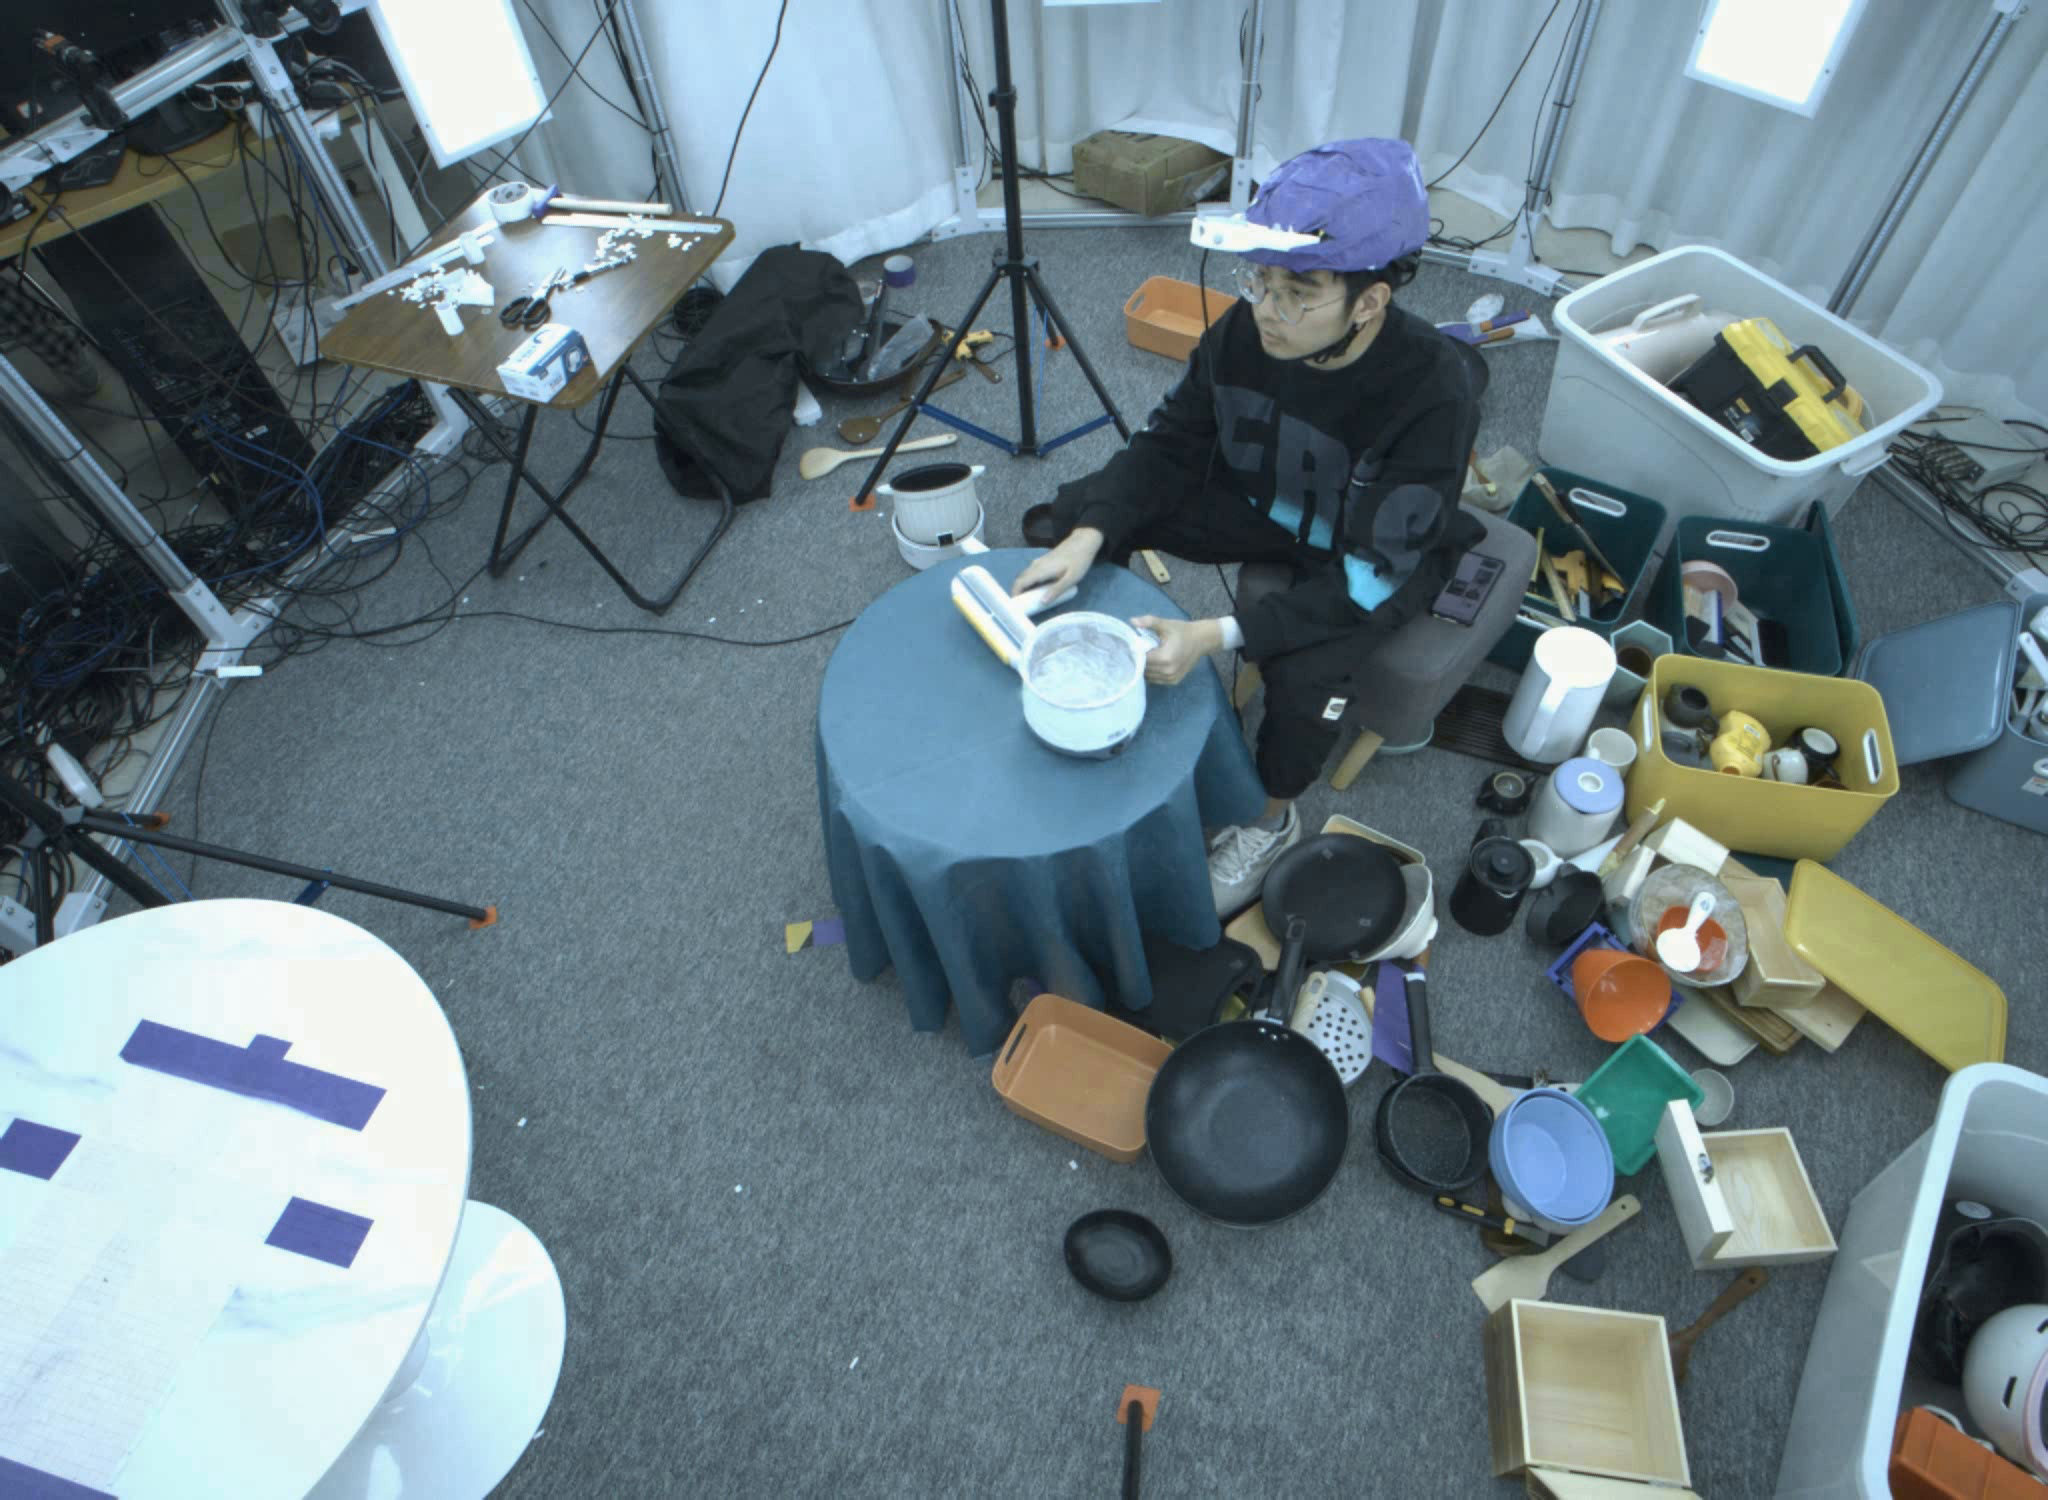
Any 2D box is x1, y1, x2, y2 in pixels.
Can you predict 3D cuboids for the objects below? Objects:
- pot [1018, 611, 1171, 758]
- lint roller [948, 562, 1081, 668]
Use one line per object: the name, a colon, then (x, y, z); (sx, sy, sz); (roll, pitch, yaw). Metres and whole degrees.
pot: (0.107, -0.103, 1.765); (0.235, 0.138, 0.175); (-29, 60, -16)
lint roller: (0.005, -0.229, 1.904); (0.194, 0.075, 0.190); (-29, 65, -19)
